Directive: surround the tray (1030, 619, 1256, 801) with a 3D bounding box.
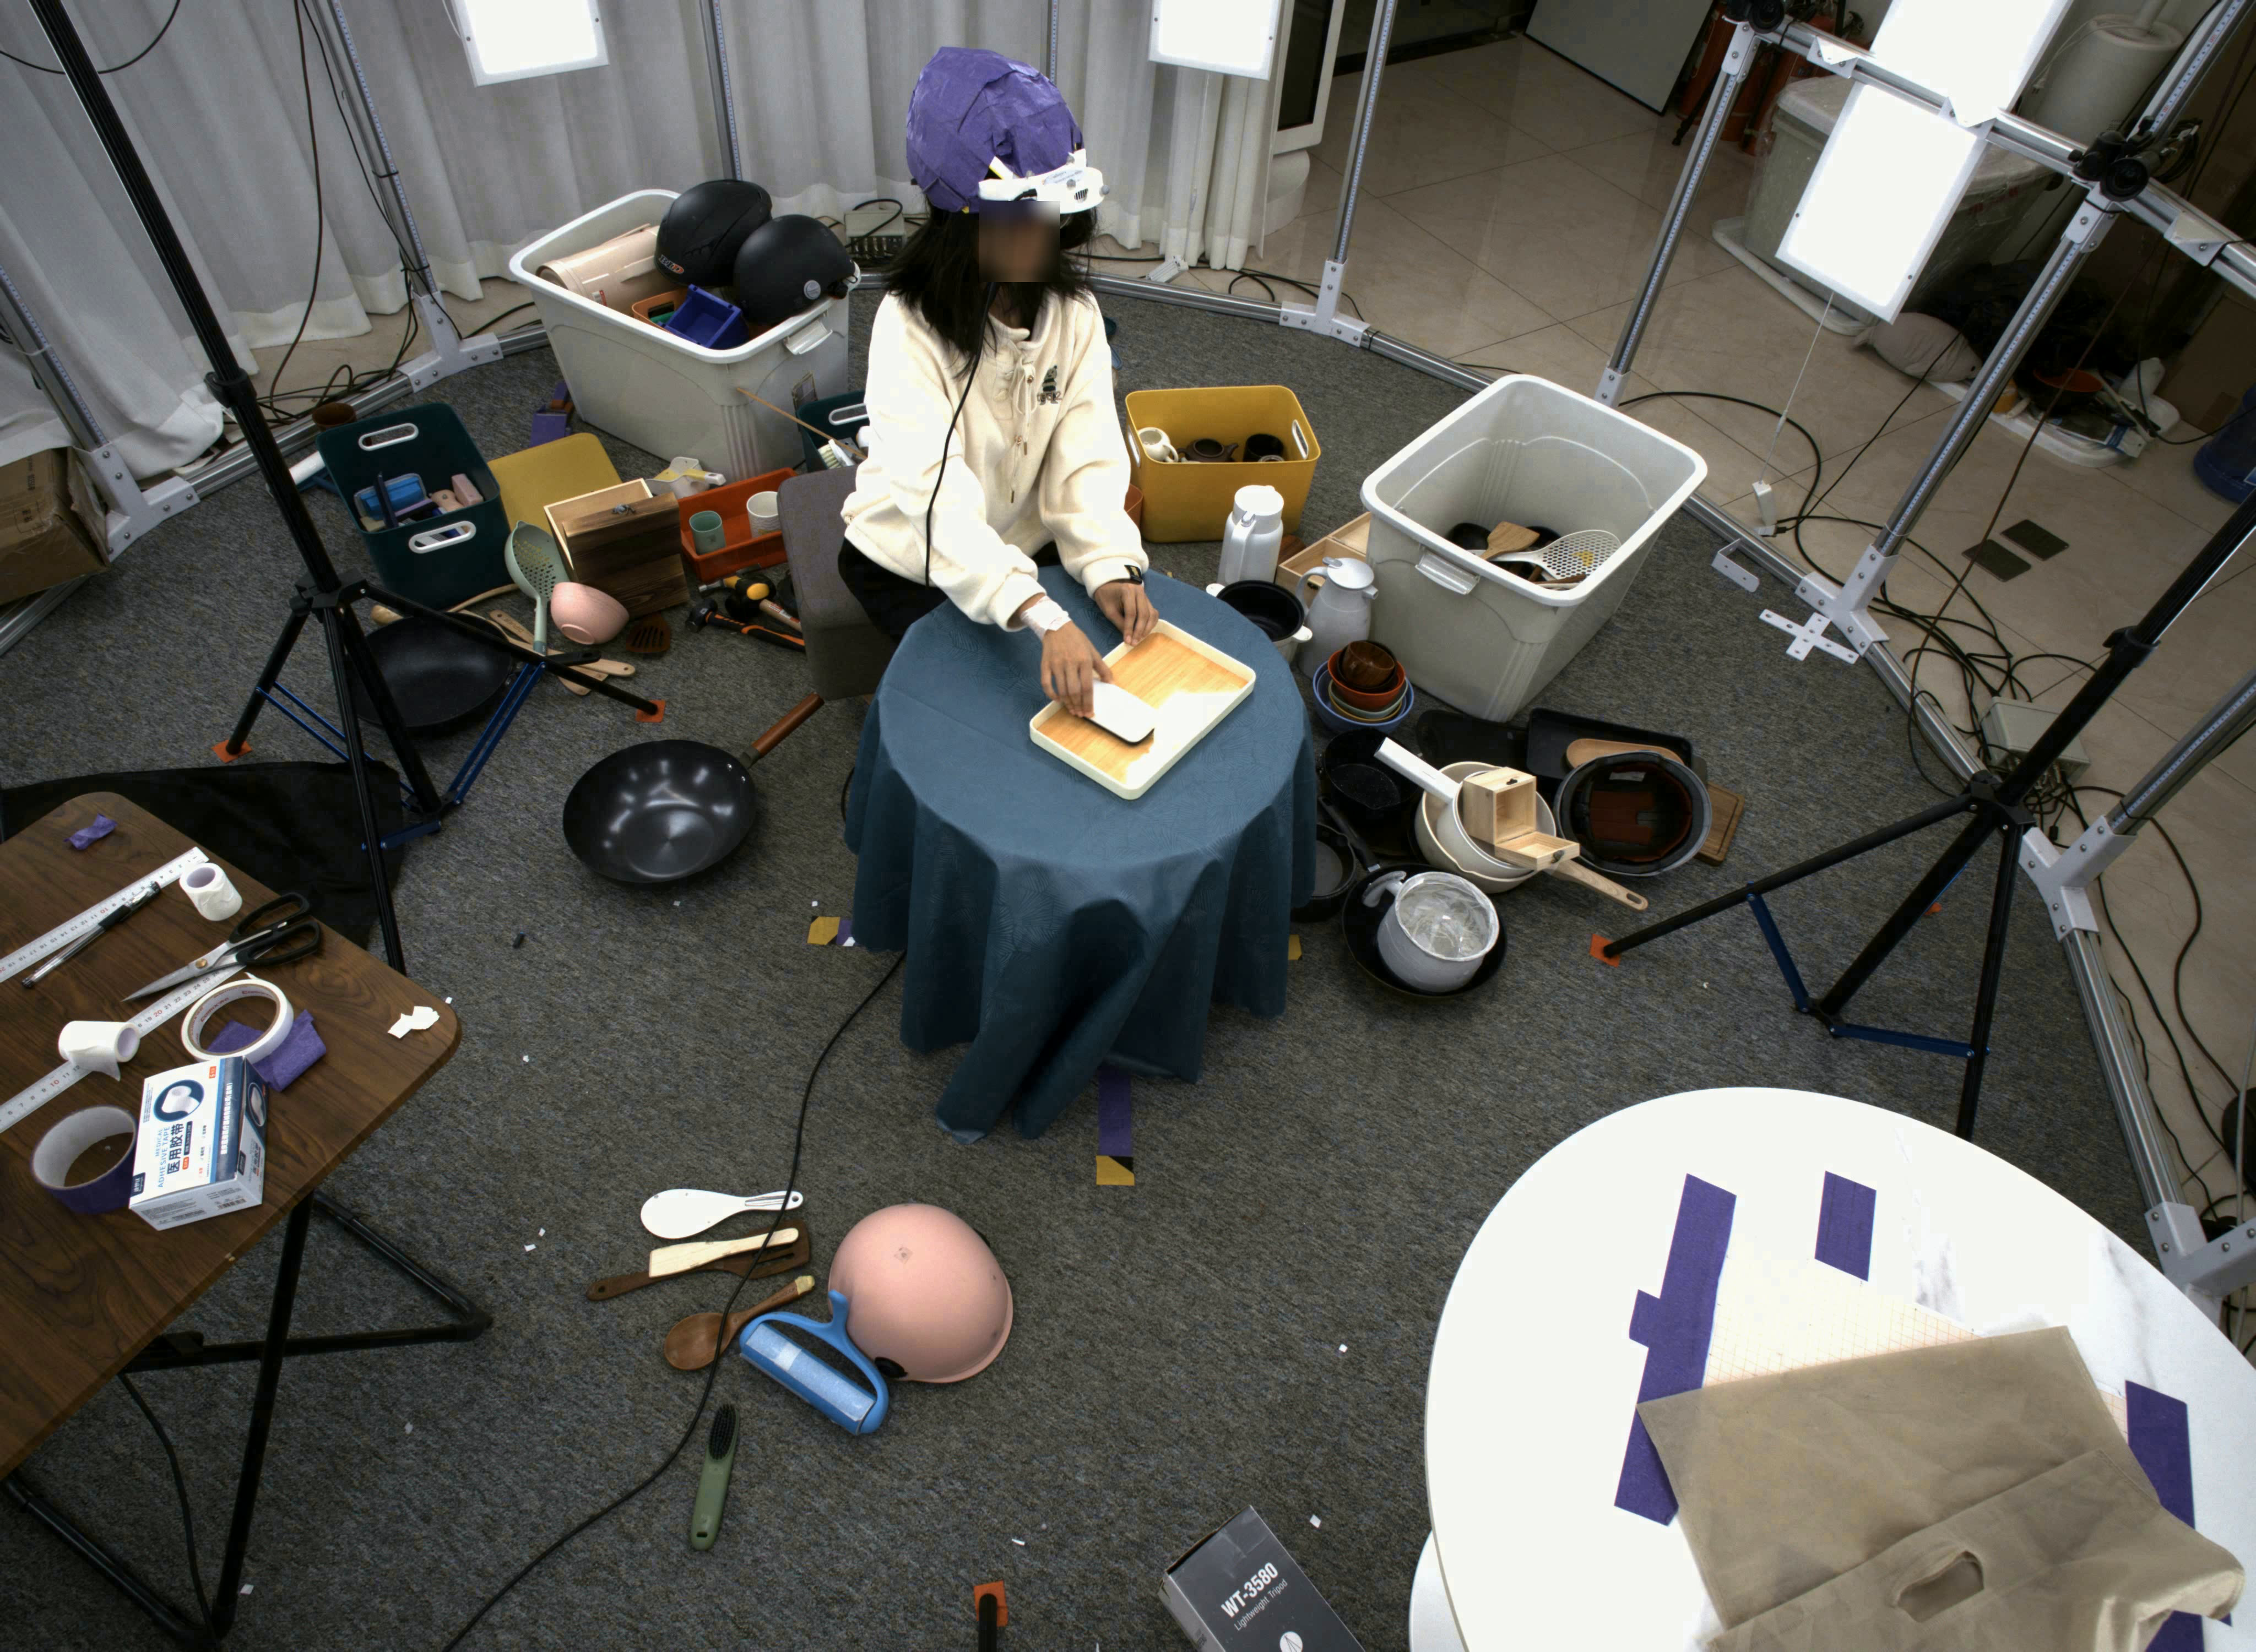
[{"bbox_3d":[0.024,-0.169,1.801,0.194,0.027,0.304,33,55,21],"label":"tray"}]

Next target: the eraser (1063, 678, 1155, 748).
[{"bbox_3d":[-0.026,-0.160,1.779,0.133,0.034,0.064,33,53,24],"label":"eraser"}]
